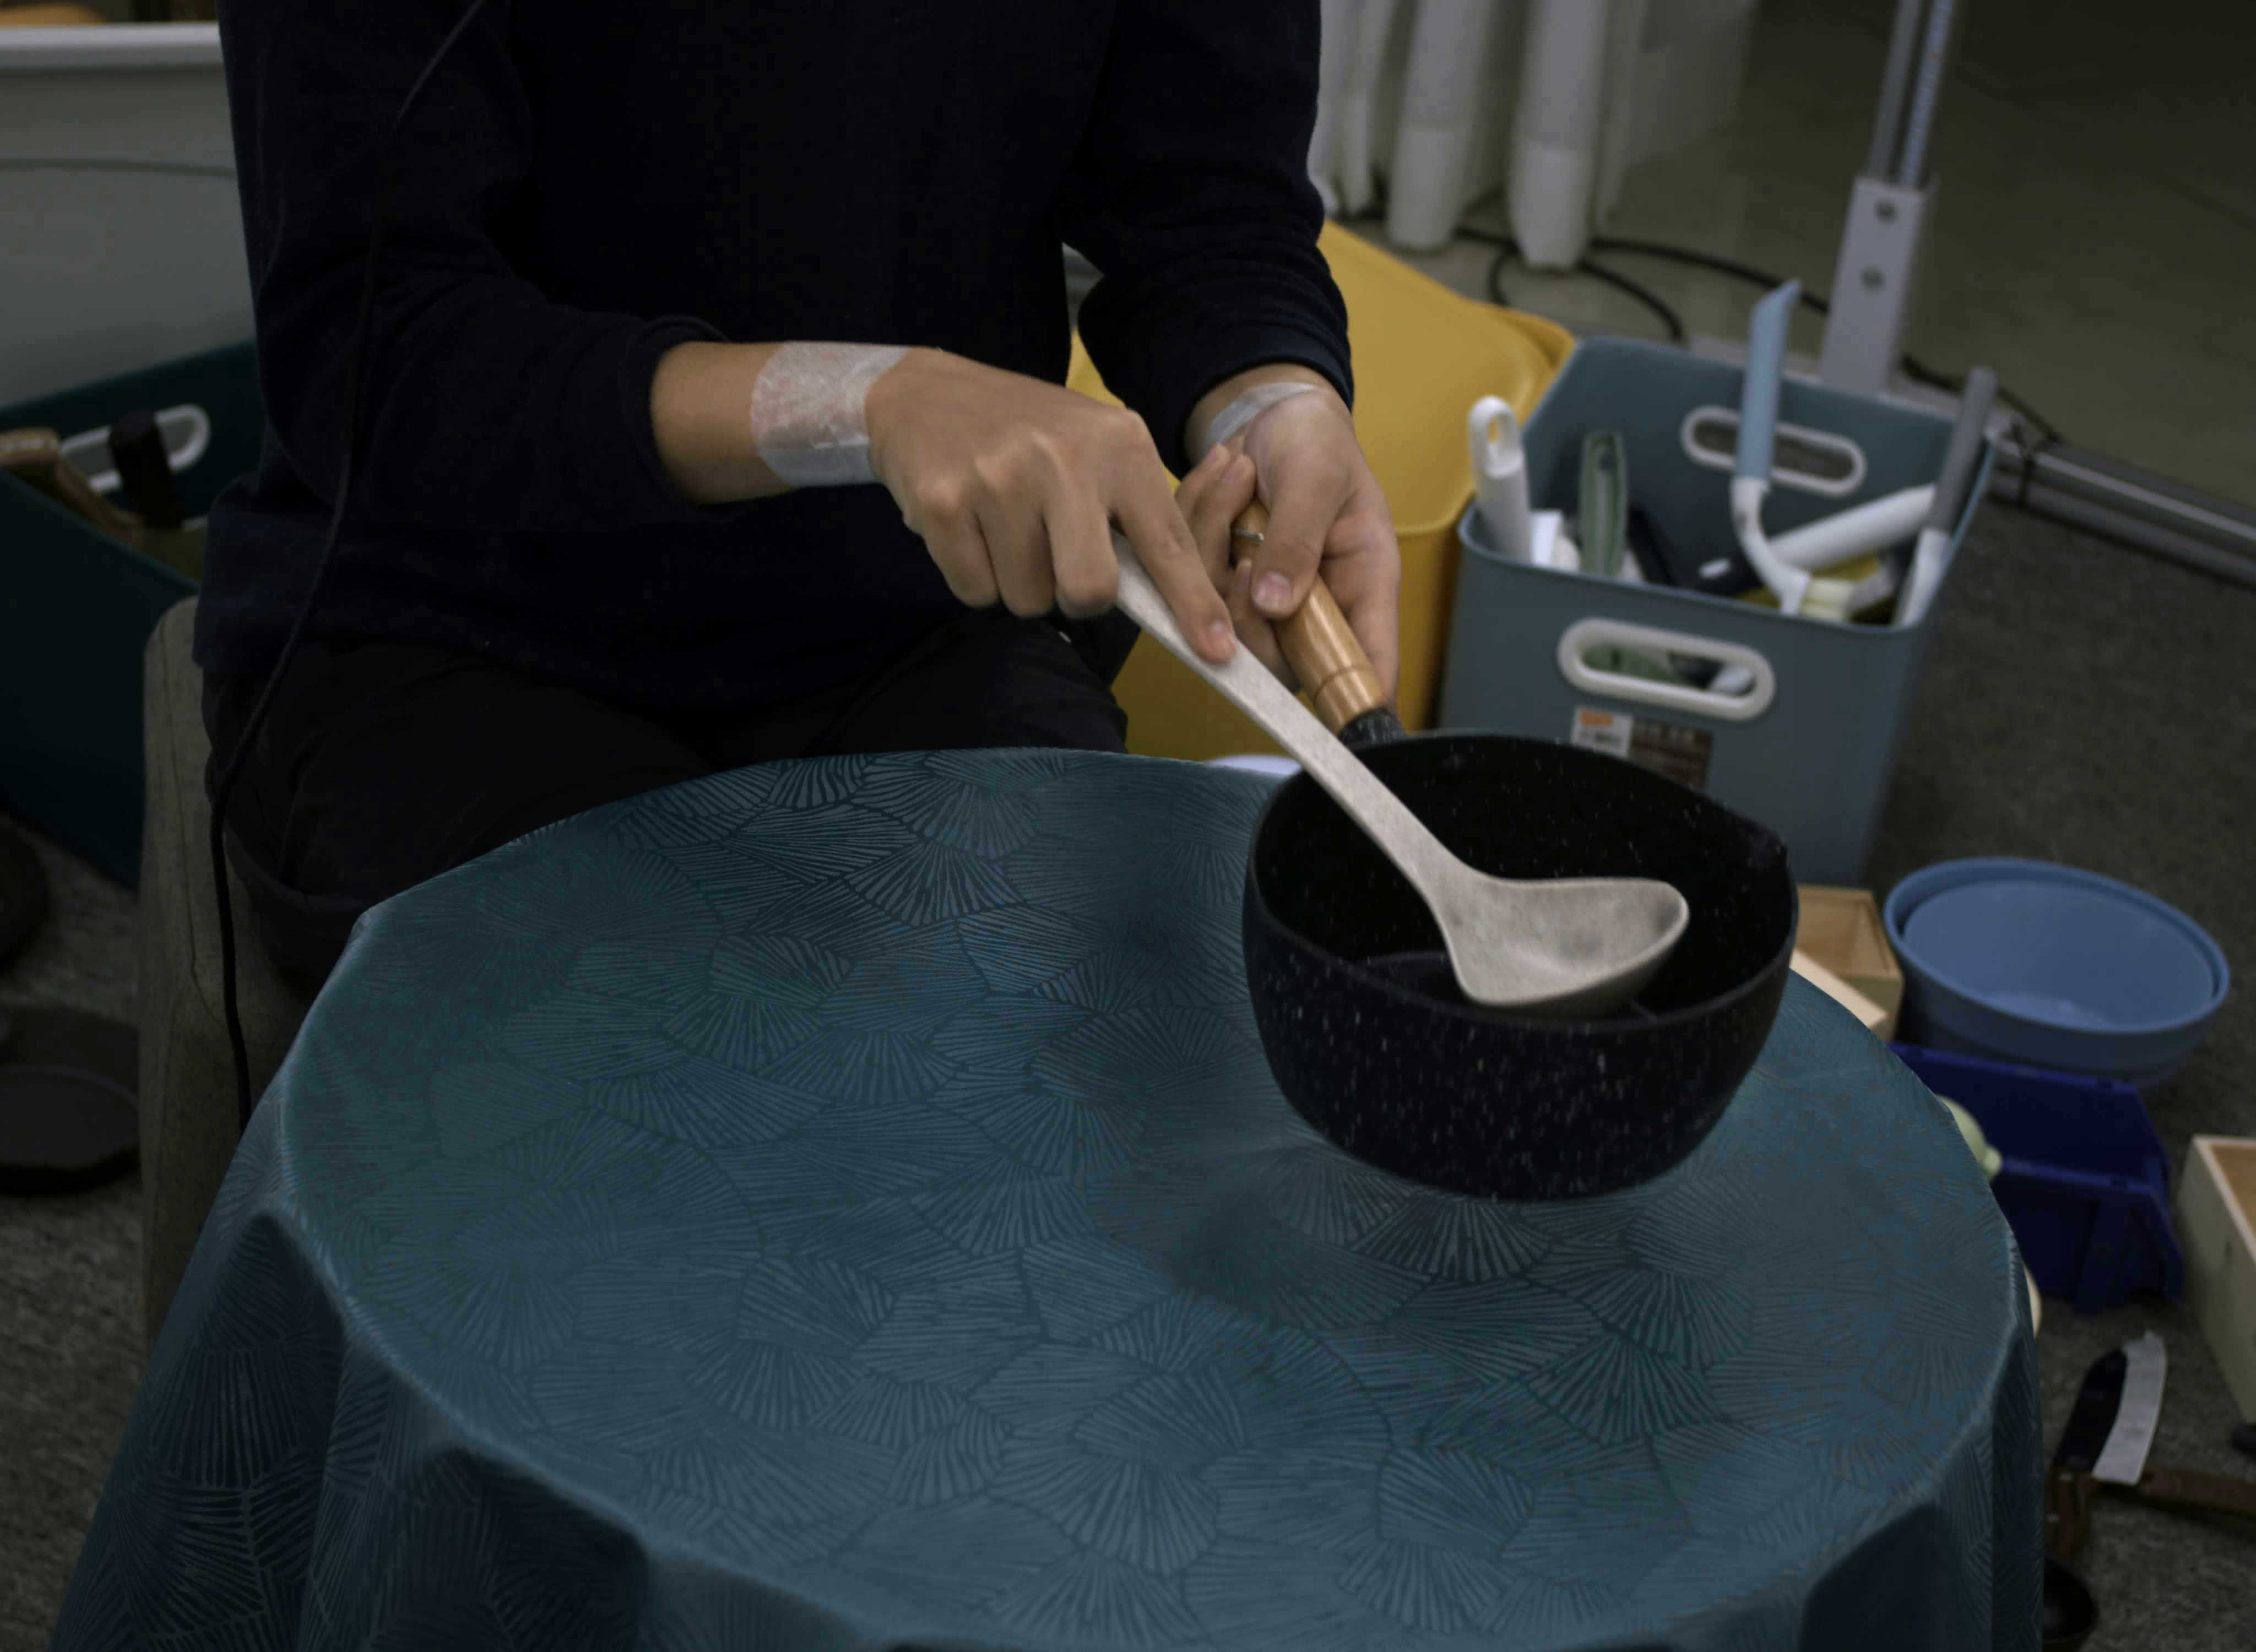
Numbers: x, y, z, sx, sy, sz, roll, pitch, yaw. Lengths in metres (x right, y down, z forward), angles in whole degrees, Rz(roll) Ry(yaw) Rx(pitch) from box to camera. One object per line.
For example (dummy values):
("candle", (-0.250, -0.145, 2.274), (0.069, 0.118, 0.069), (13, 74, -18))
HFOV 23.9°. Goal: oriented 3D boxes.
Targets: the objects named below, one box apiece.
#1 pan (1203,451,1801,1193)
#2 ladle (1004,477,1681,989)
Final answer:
("pan", (0.096, -0.004, 1.839), (0.206, 0.108, 0.346), (-9, 35, -23))
("ladle", (0.069, -0.040, 1.798), (0.275, 0.069, 0.089), (45, 49, 9))
